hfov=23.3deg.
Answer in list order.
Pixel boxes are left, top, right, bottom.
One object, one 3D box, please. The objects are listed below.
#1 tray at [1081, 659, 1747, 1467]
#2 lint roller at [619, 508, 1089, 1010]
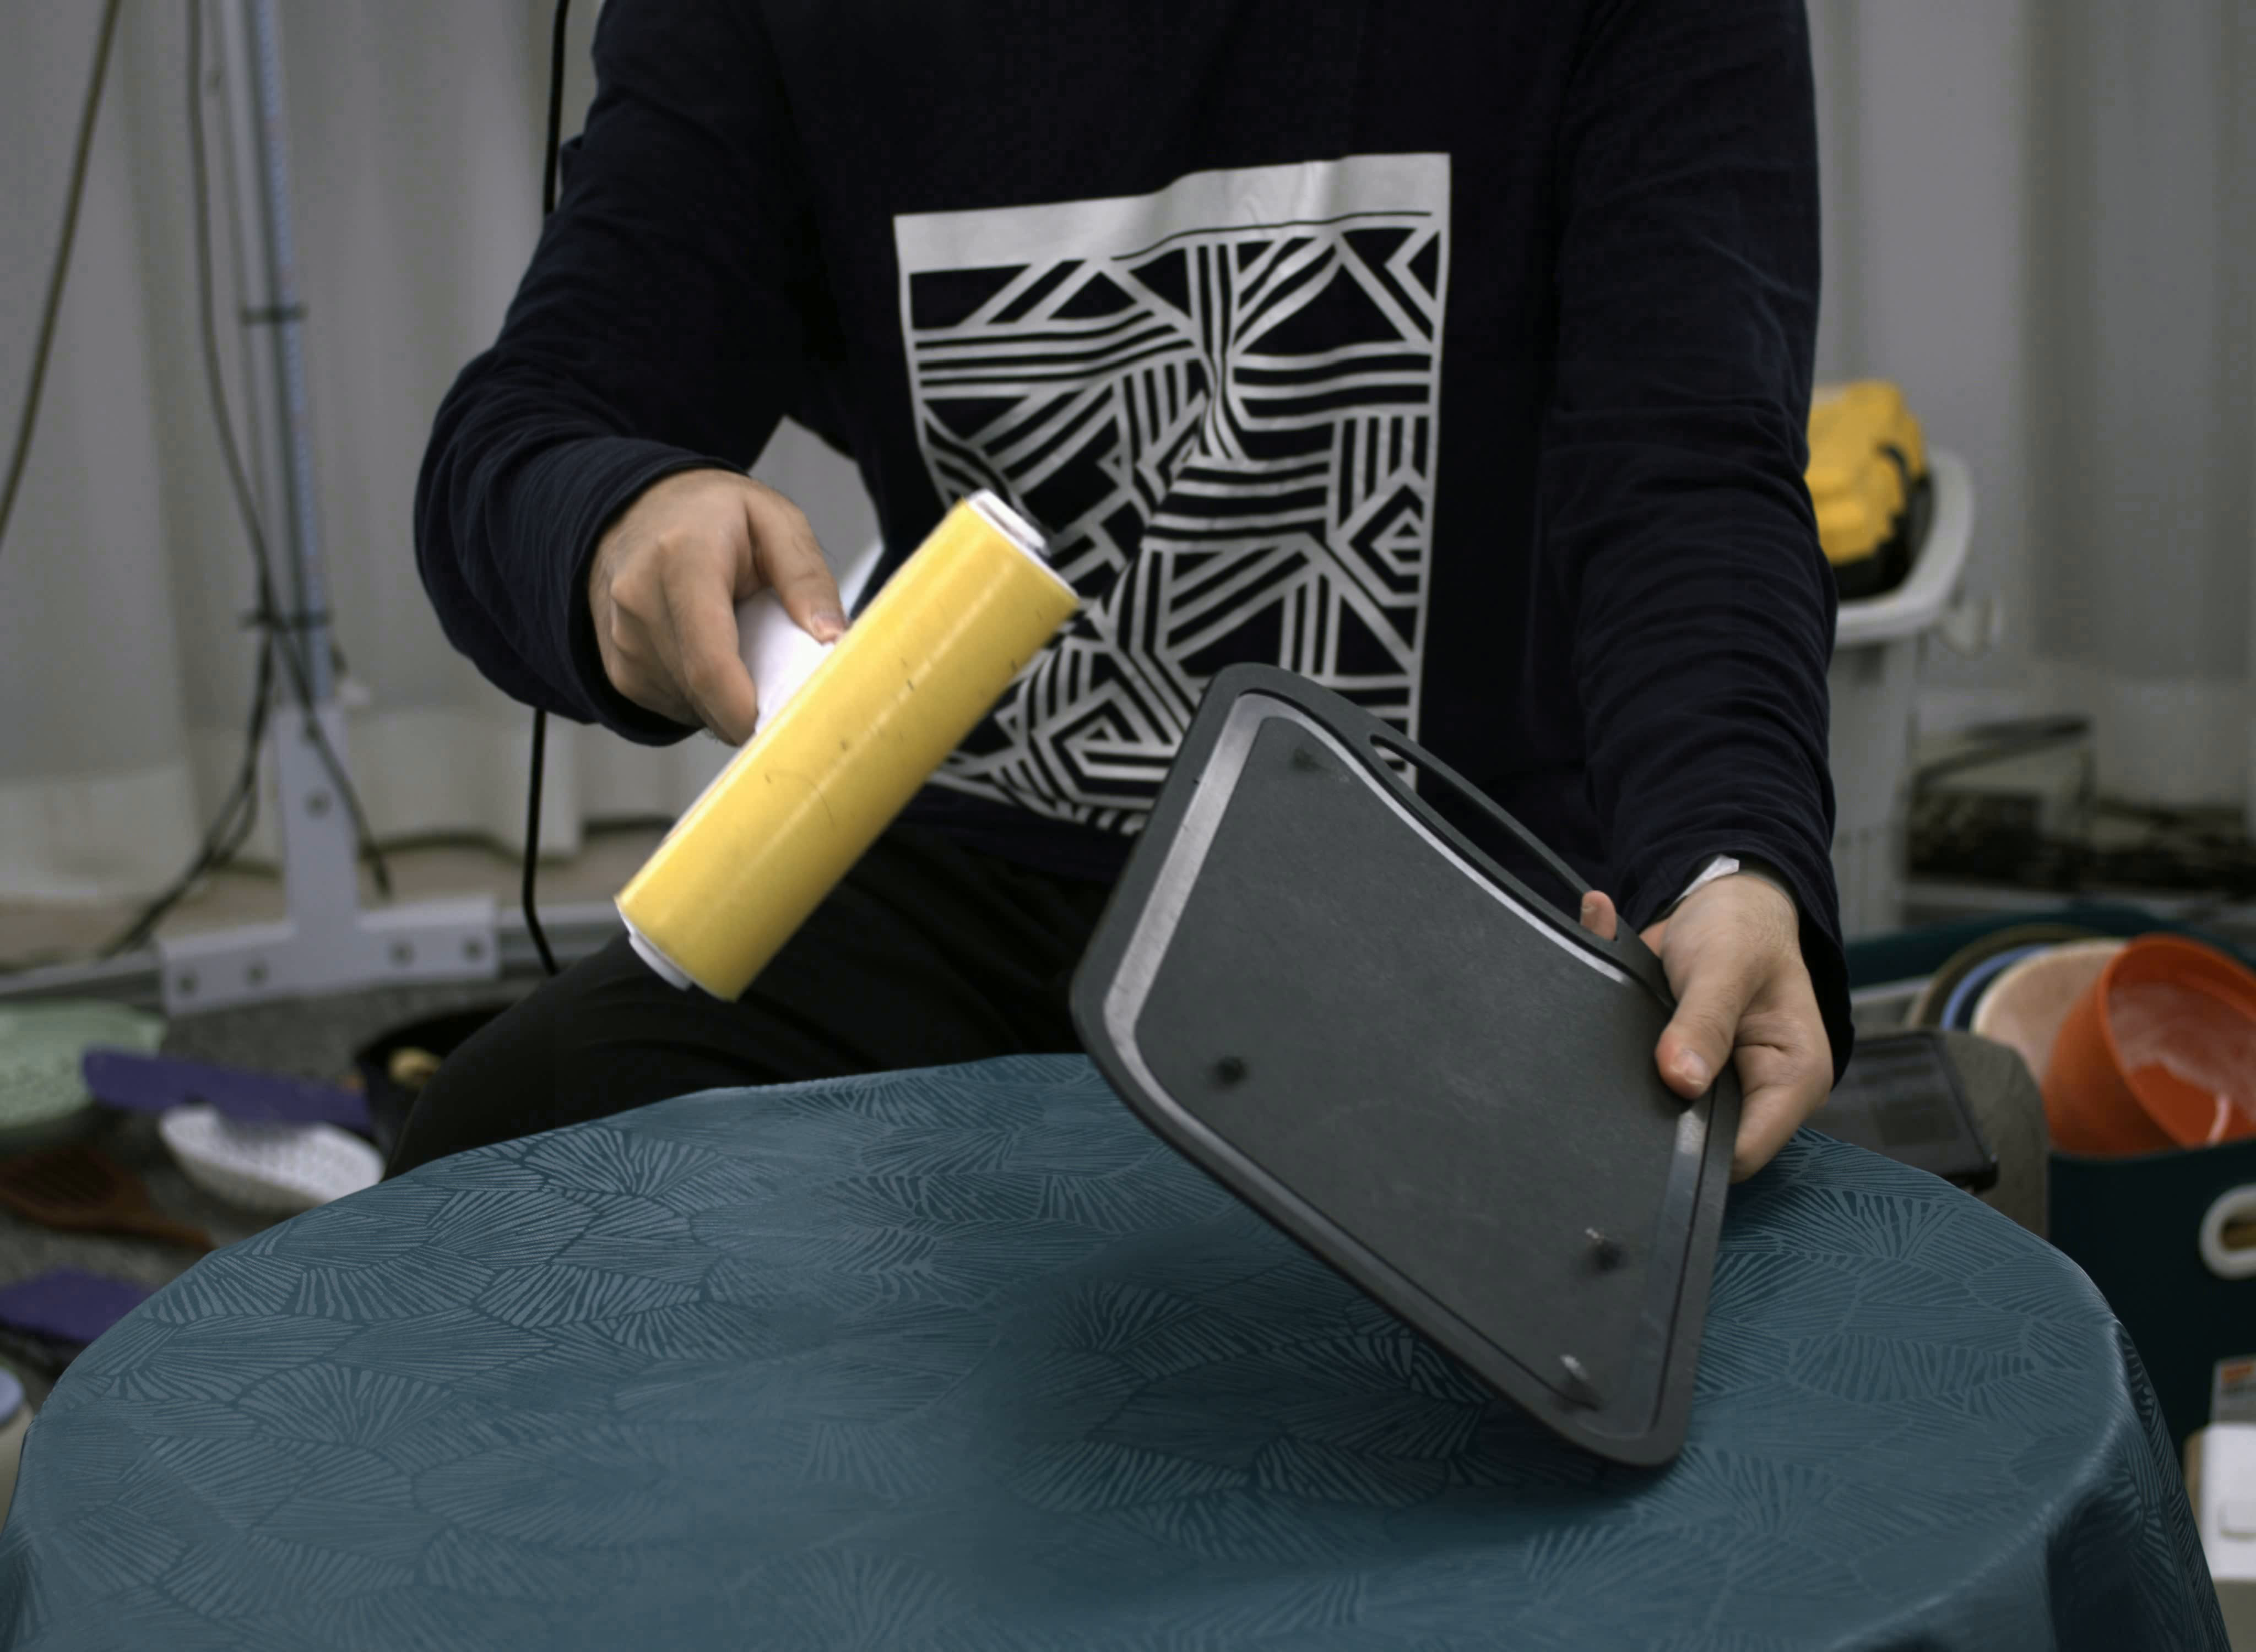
[{"bbox_3d":[0.090,0.055,1.576,0.210,0.010,0.328,38,24,-5],"label":"tray"},{"bbox_3d":[-0.112,-0.046,1.702,0.051,0.174,0.194,42,0,-35],"label":"lint roller"}]
